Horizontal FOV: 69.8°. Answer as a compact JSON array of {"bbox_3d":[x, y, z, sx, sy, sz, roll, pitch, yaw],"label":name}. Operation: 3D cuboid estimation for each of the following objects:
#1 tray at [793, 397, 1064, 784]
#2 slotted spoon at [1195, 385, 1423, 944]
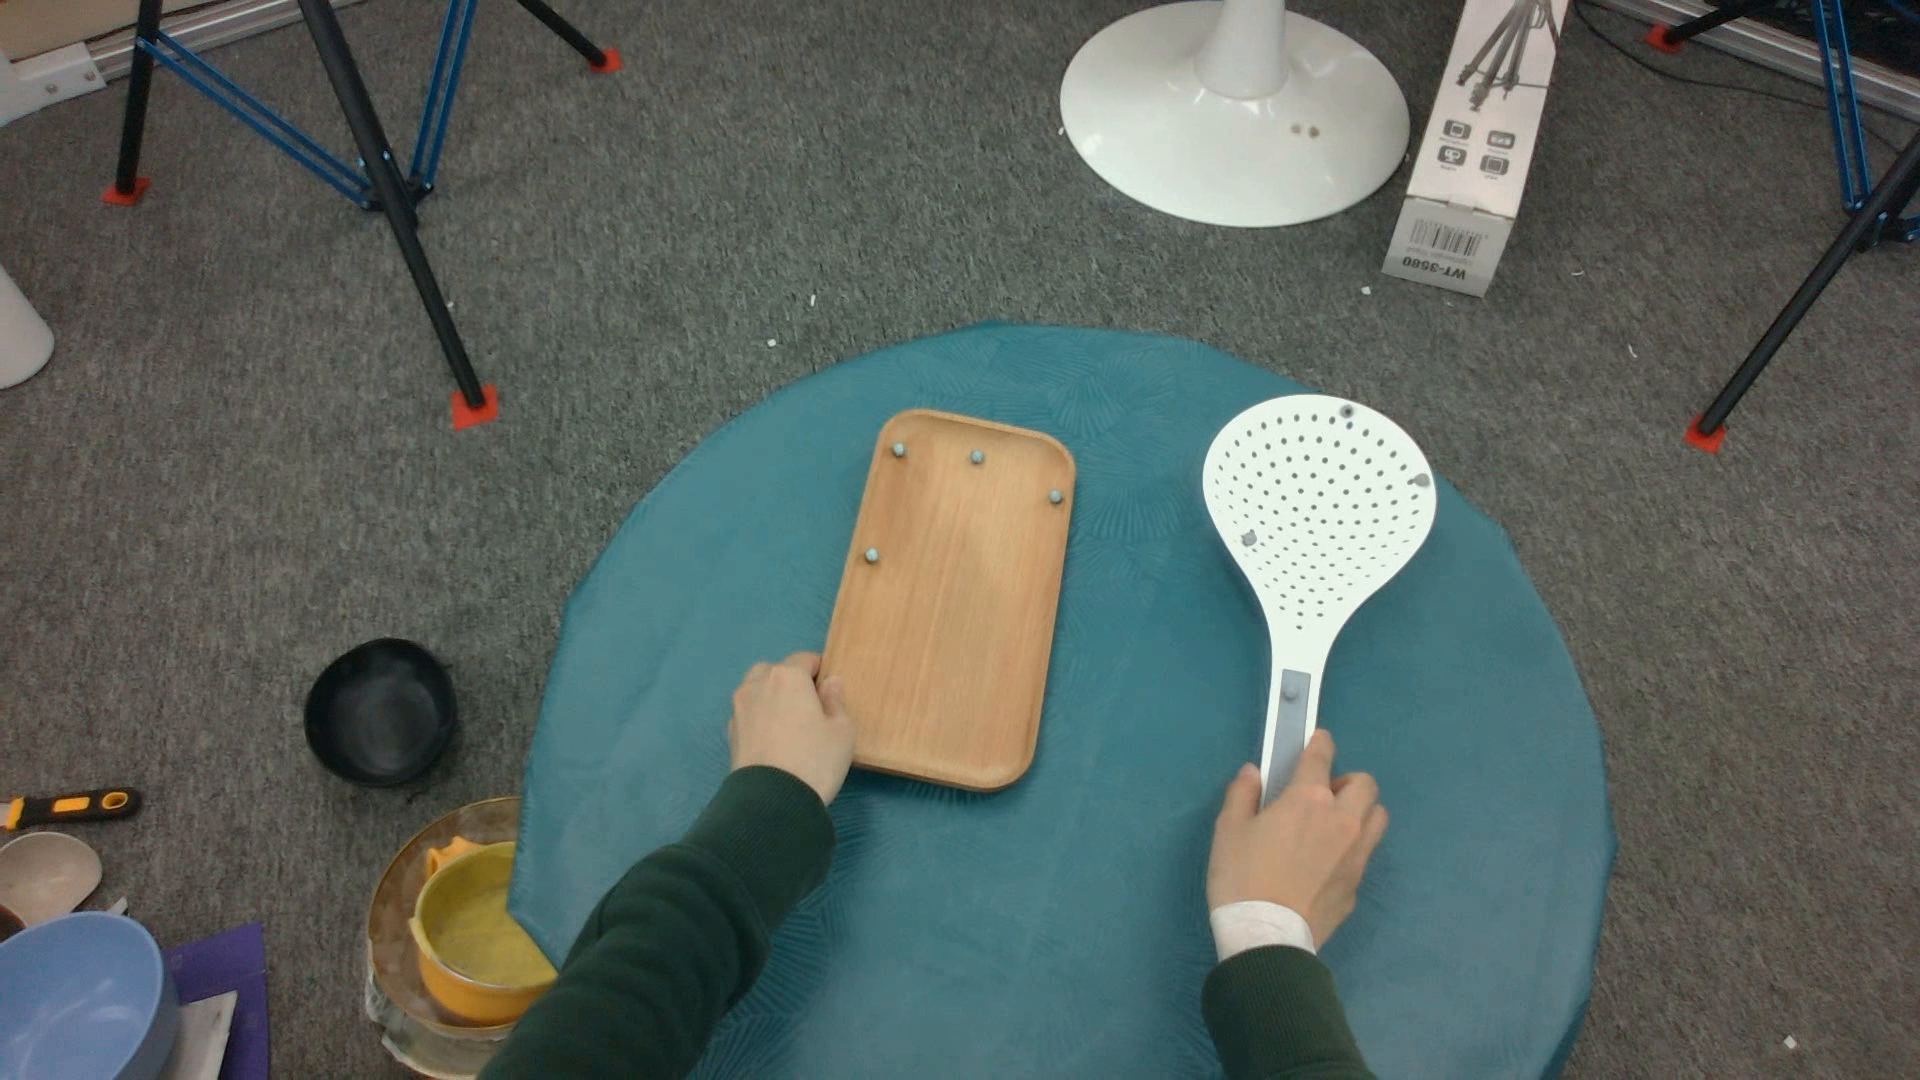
[{"bbox_3d":[-0.013,0.022,0.811,0.130,0.023,0.252,11,56,1],"label":"tray"},{"bbox_3d":[0.186,0.055,0.782,0.136,0.045,0.351,10,55,9],"label":"slotted spoon"}]
